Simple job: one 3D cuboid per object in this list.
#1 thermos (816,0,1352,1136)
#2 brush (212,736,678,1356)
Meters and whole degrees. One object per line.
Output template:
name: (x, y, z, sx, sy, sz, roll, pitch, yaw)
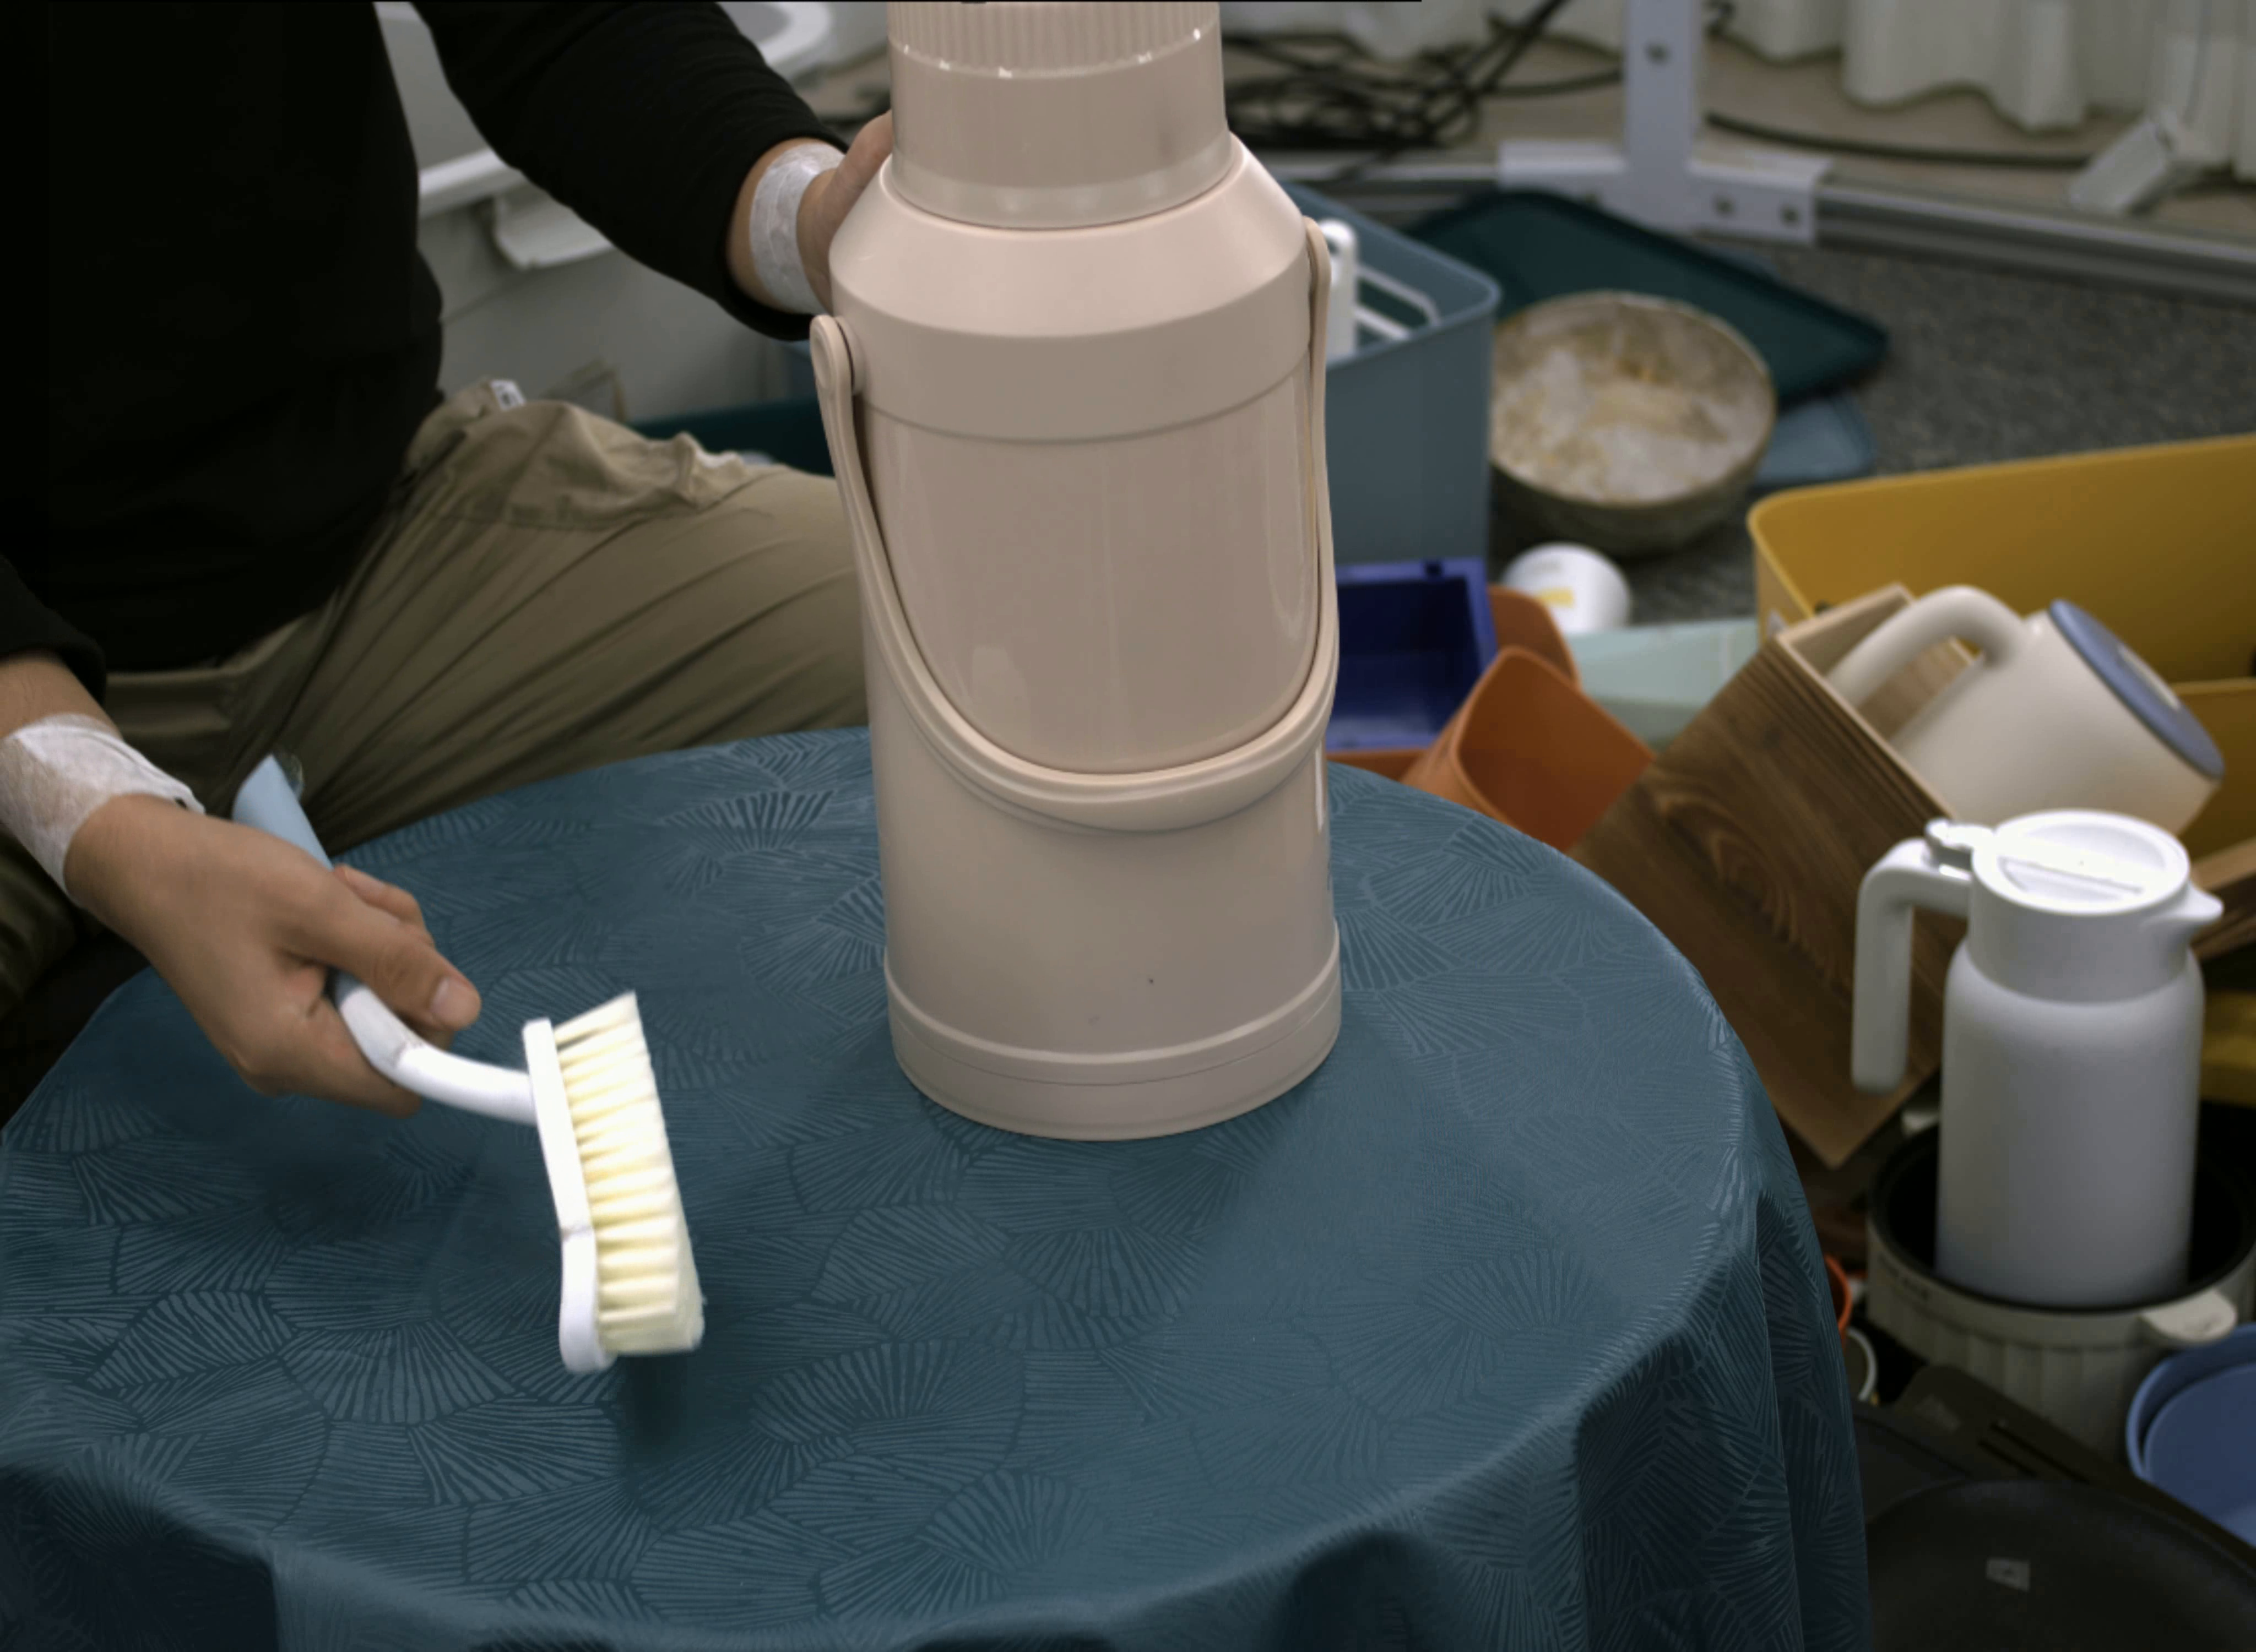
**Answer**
thermos: (-0.016, -0.112, 1.889, 0.176, 0.402, 0.208, -15, 29, -19)
brush: (-0.207, 0.054, 1.832, 0.084, 0.082, 0.329, 16, 25, -38)
